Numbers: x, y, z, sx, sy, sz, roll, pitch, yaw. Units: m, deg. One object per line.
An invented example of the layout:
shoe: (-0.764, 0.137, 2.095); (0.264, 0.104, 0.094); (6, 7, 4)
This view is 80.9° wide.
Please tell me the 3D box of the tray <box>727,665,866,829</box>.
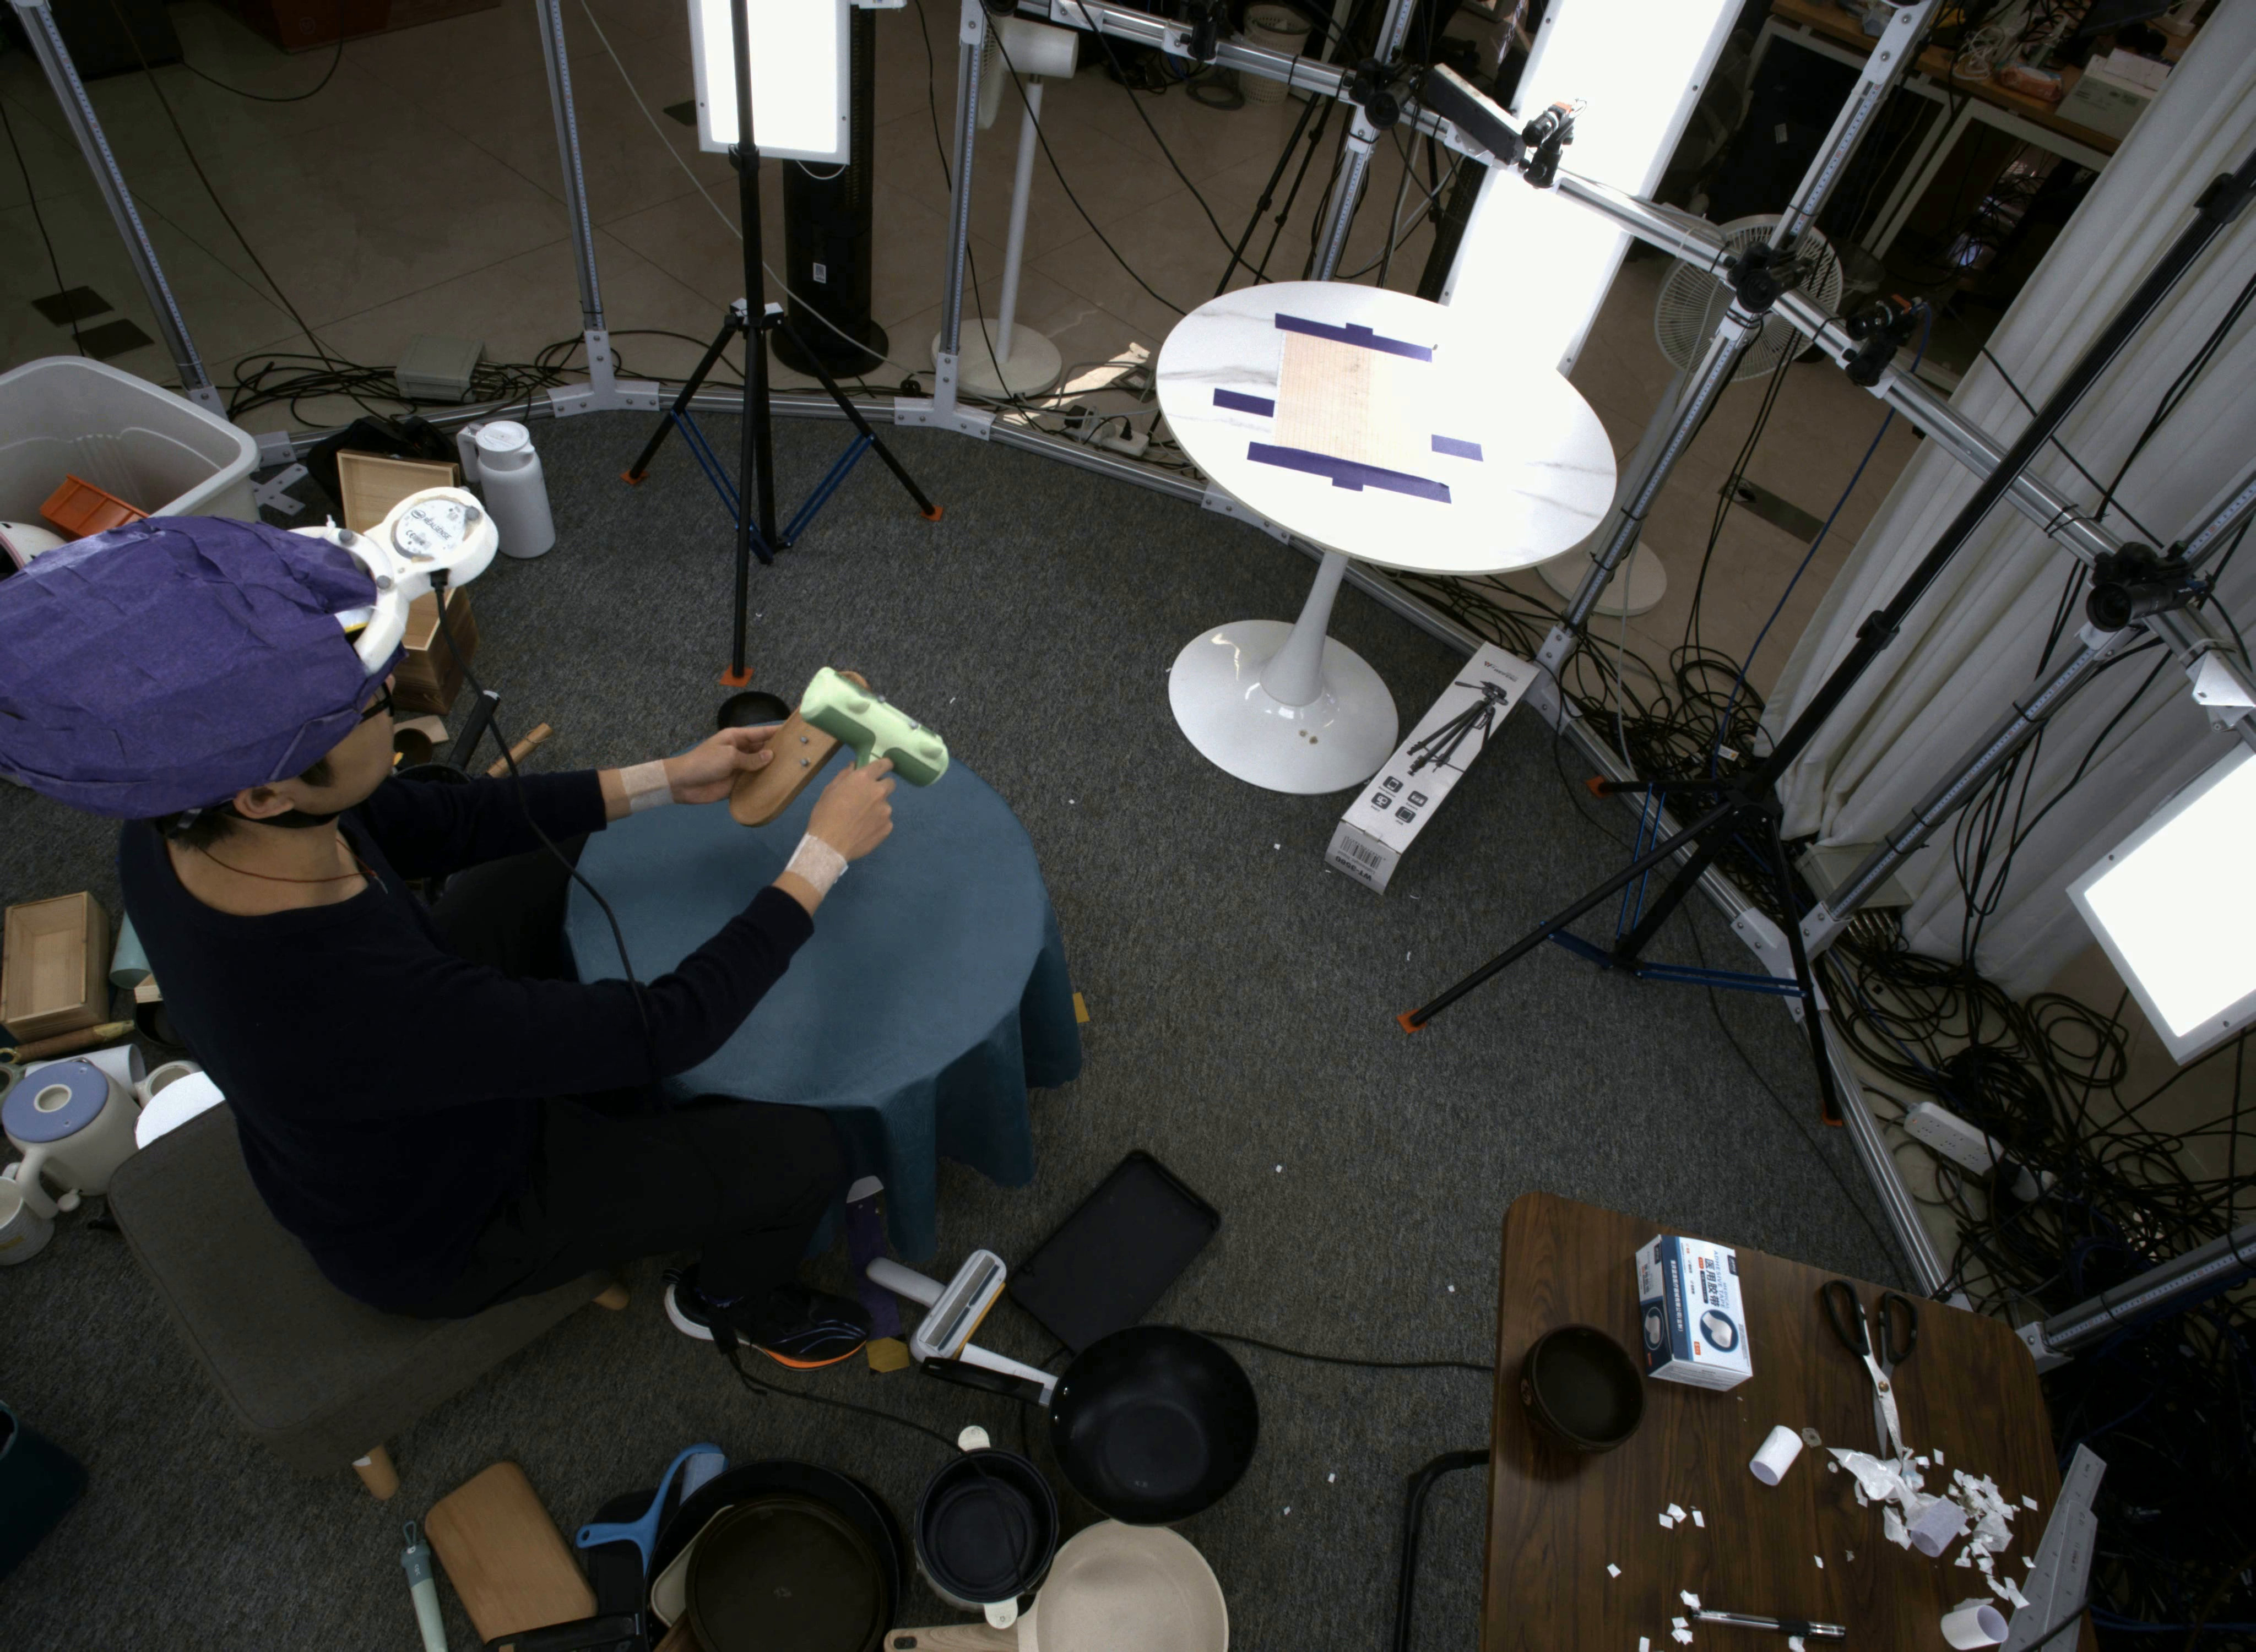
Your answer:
tray: (-0.397, -0.094, 1.551); (0.232, 0.021, 0.098); (-51, 50, 0)

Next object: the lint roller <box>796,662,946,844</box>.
lint roller: (-0.286, -0.071, 1.478); (0.205, 0.081, 0.180); (33, 41, -44)
